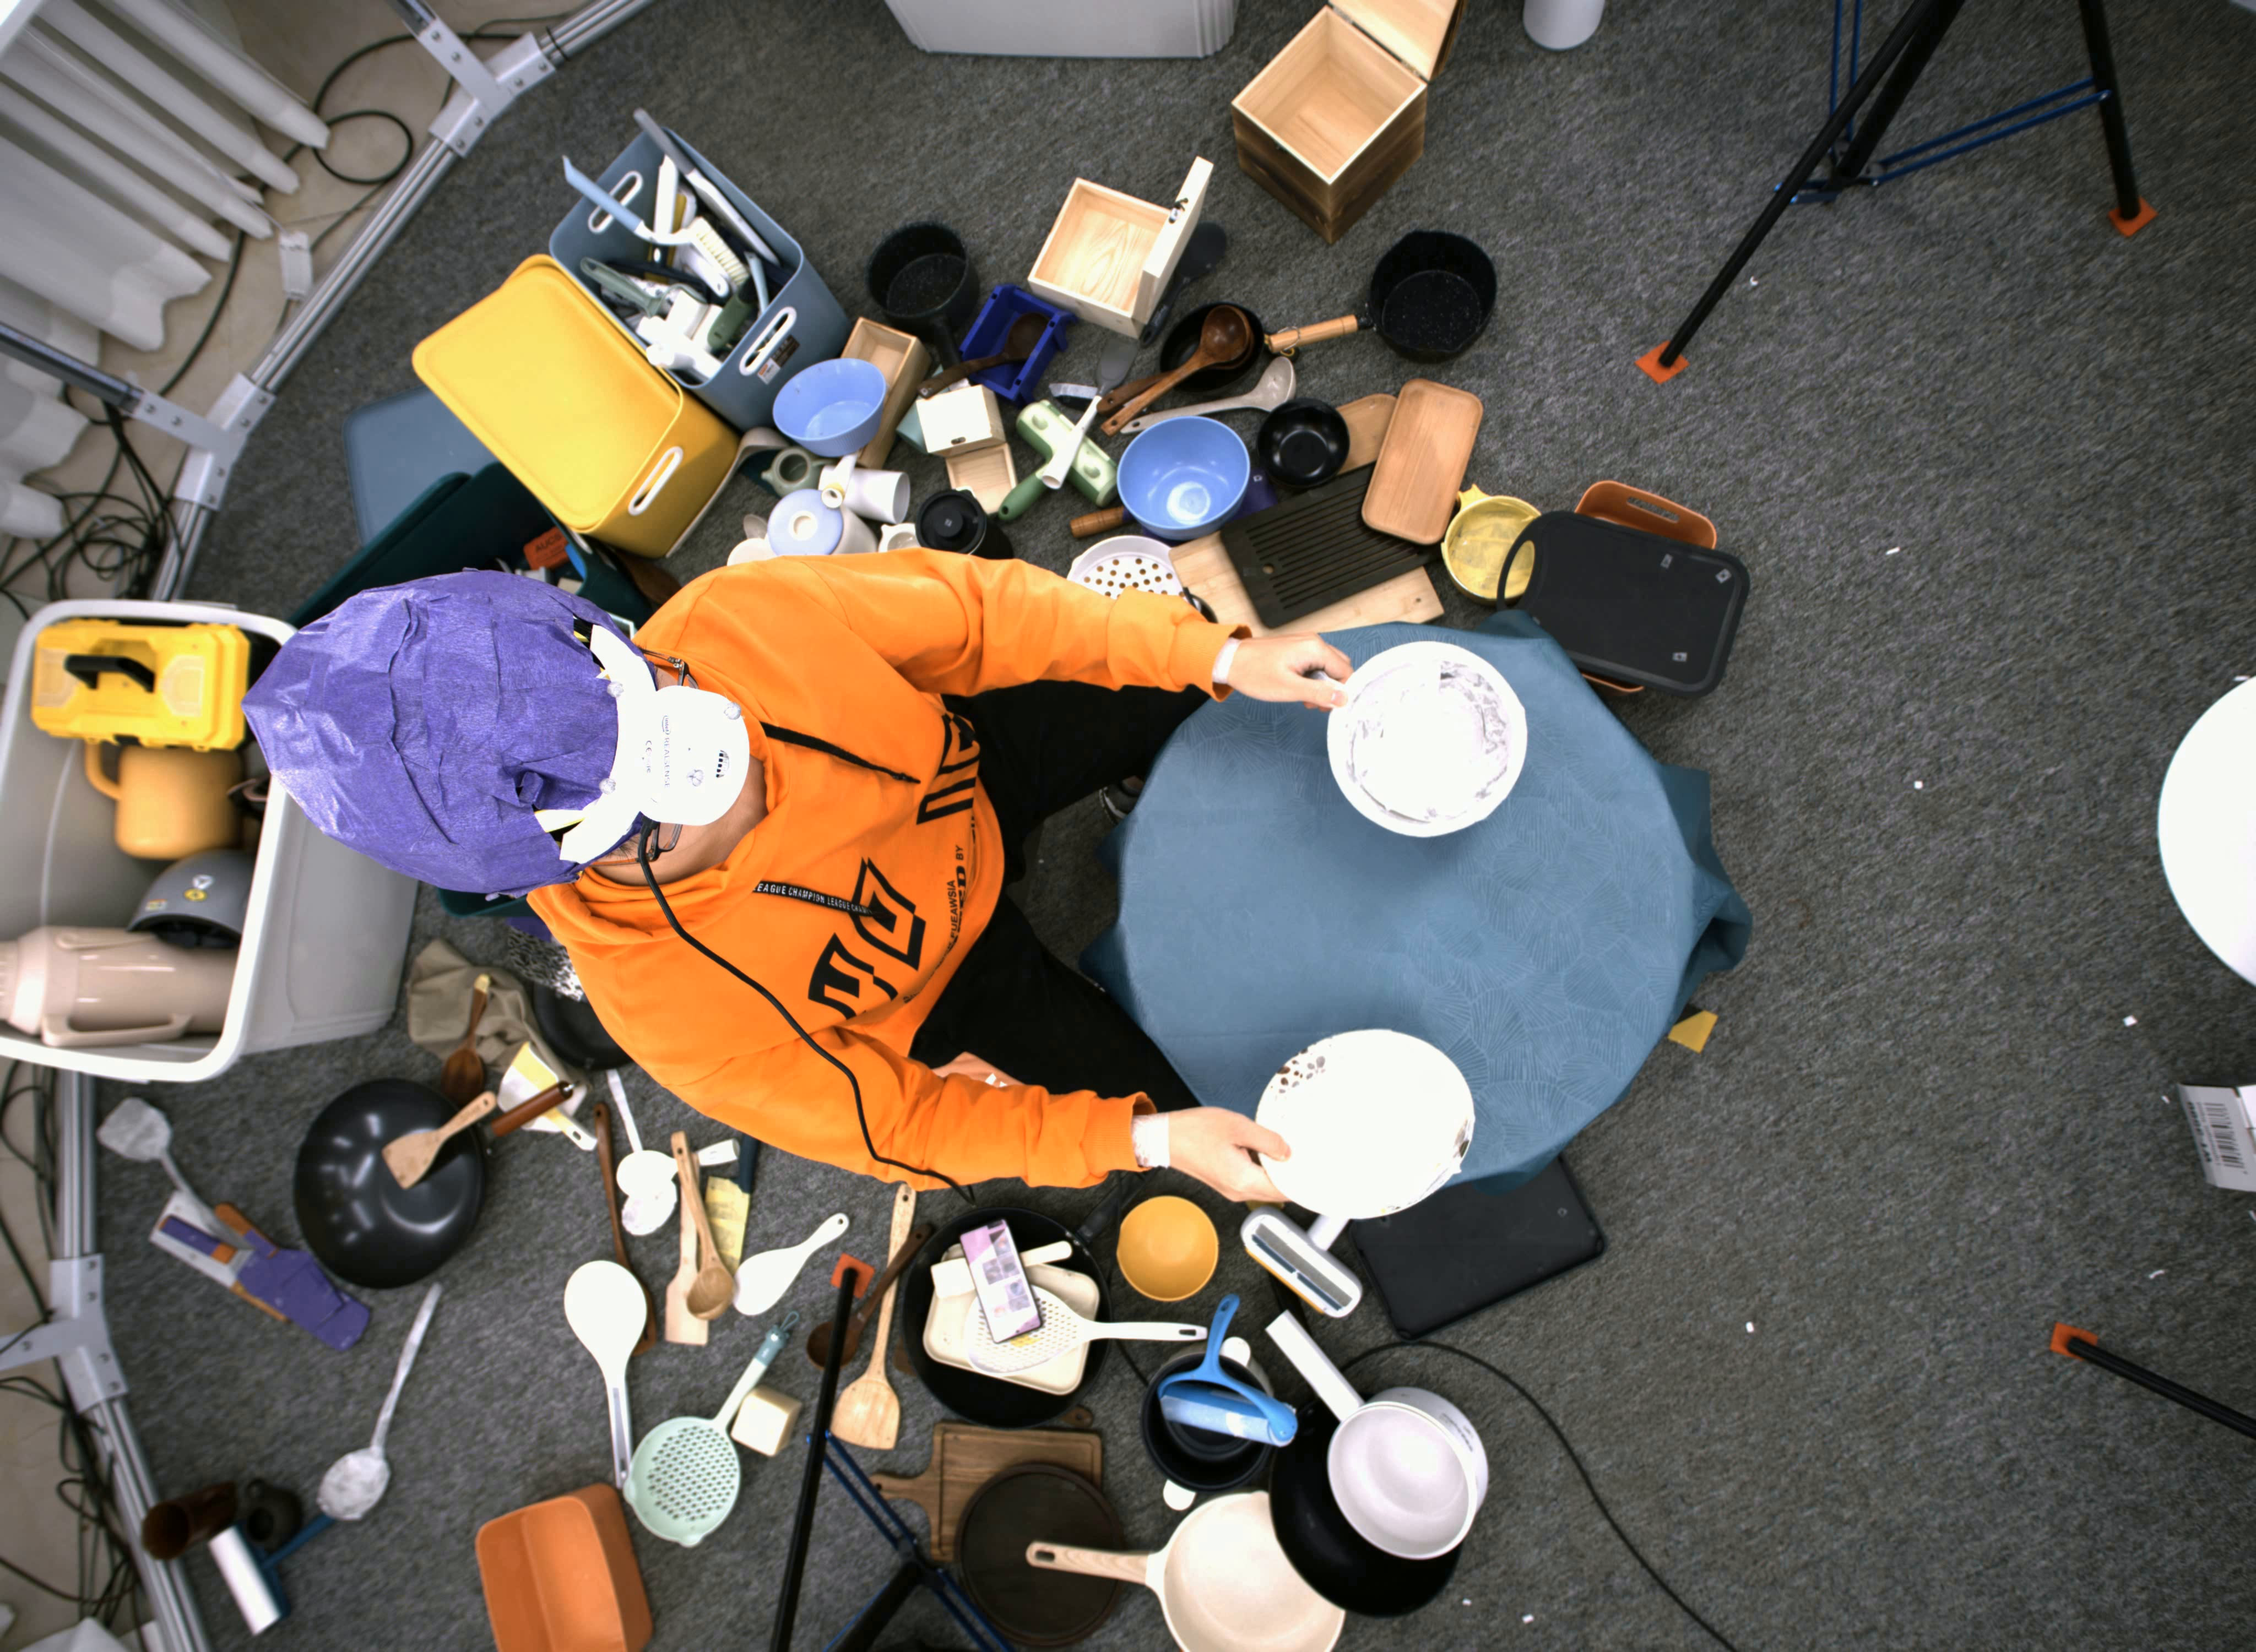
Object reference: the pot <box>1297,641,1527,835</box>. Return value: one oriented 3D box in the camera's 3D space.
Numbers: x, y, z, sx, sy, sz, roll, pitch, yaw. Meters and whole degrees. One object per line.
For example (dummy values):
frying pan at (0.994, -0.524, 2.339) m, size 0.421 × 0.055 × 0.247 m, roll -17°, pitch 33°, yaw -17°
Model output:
pot at (0.264, -0.095, 1.311) m, size 0.233 × 0.135 × 0.180 m, roll 27°, pitch 101°, yaw 14°

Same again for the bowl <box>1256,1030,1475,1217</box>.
bowl at (0.227, 0.292, 1.299) m, size 0.205 × 0.079 × 0.198 m, roll -14°, pitch 42°, yaw 13°
